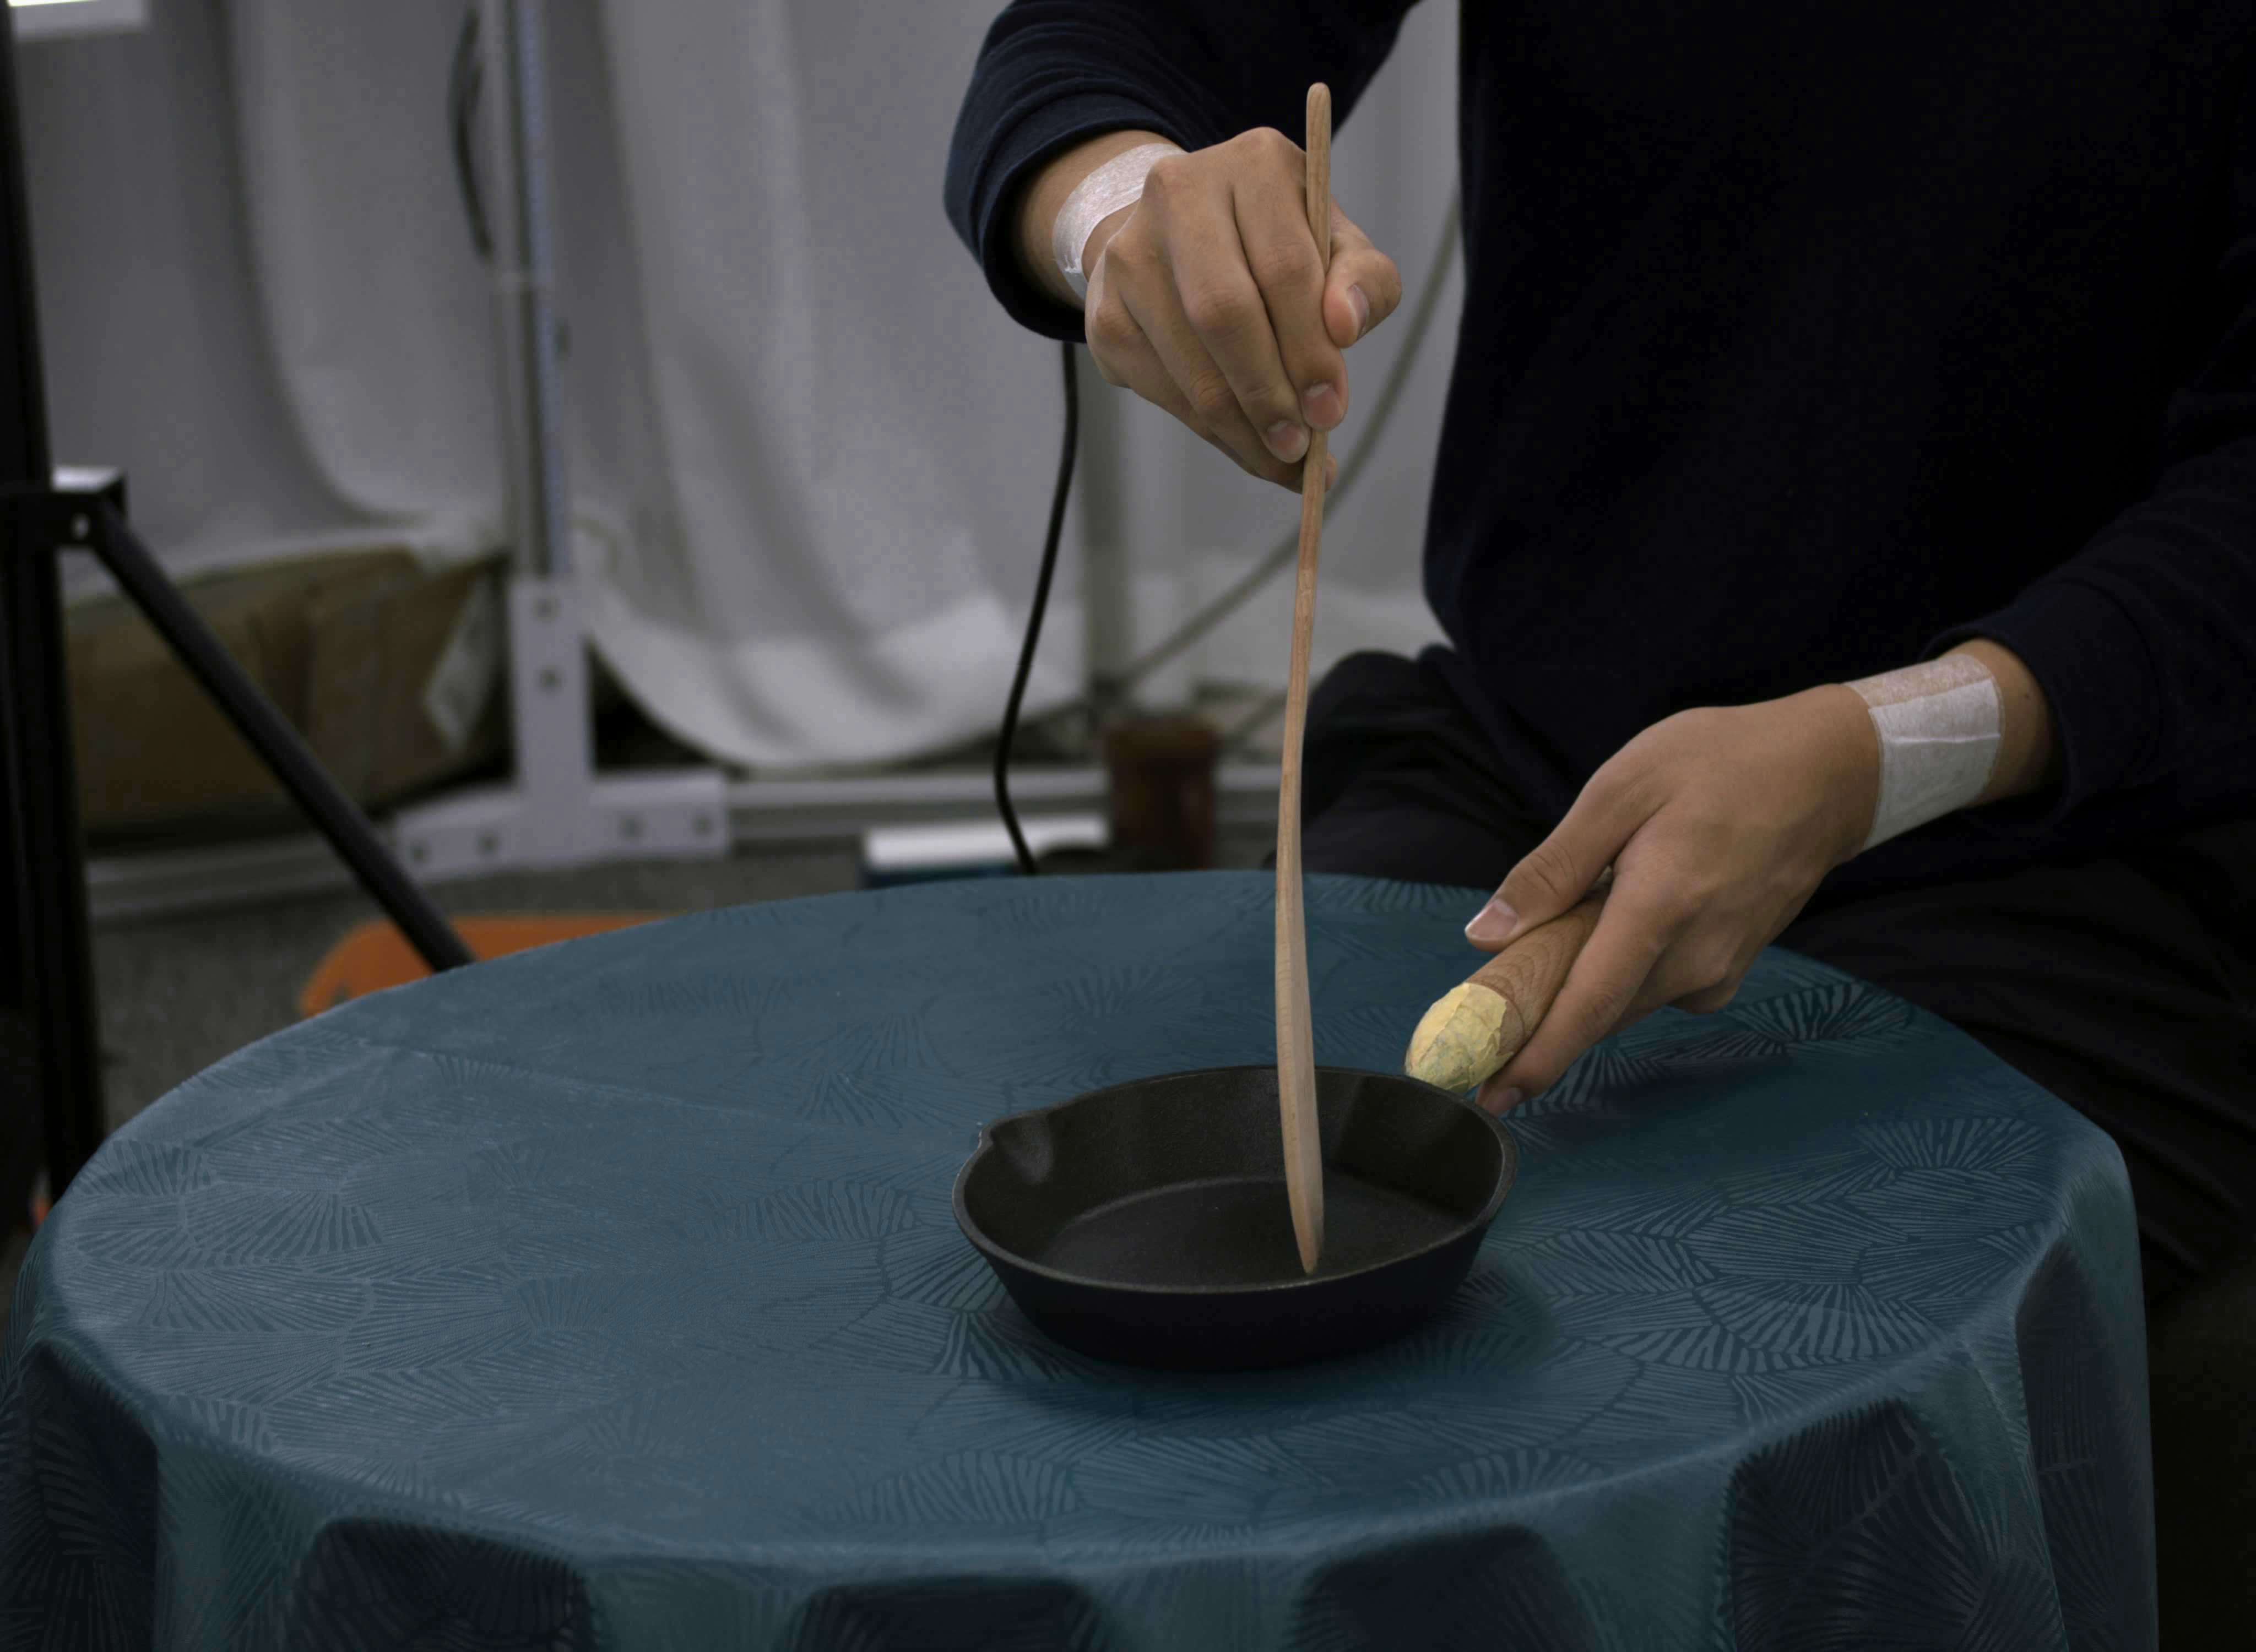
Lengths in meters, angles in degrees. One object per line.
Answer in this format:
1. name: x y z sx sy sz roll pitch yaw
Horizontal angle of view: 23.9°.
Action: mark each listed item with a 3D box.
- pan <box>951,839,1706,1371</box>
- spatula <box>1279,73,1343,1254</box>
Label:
1. pan: 0.081 0.077 1.525 0.172 0.049 0.318 10 26 38
2. spatula: 0.053 -0.040 1.465 0.016 0.328 0.080 3 8 4
